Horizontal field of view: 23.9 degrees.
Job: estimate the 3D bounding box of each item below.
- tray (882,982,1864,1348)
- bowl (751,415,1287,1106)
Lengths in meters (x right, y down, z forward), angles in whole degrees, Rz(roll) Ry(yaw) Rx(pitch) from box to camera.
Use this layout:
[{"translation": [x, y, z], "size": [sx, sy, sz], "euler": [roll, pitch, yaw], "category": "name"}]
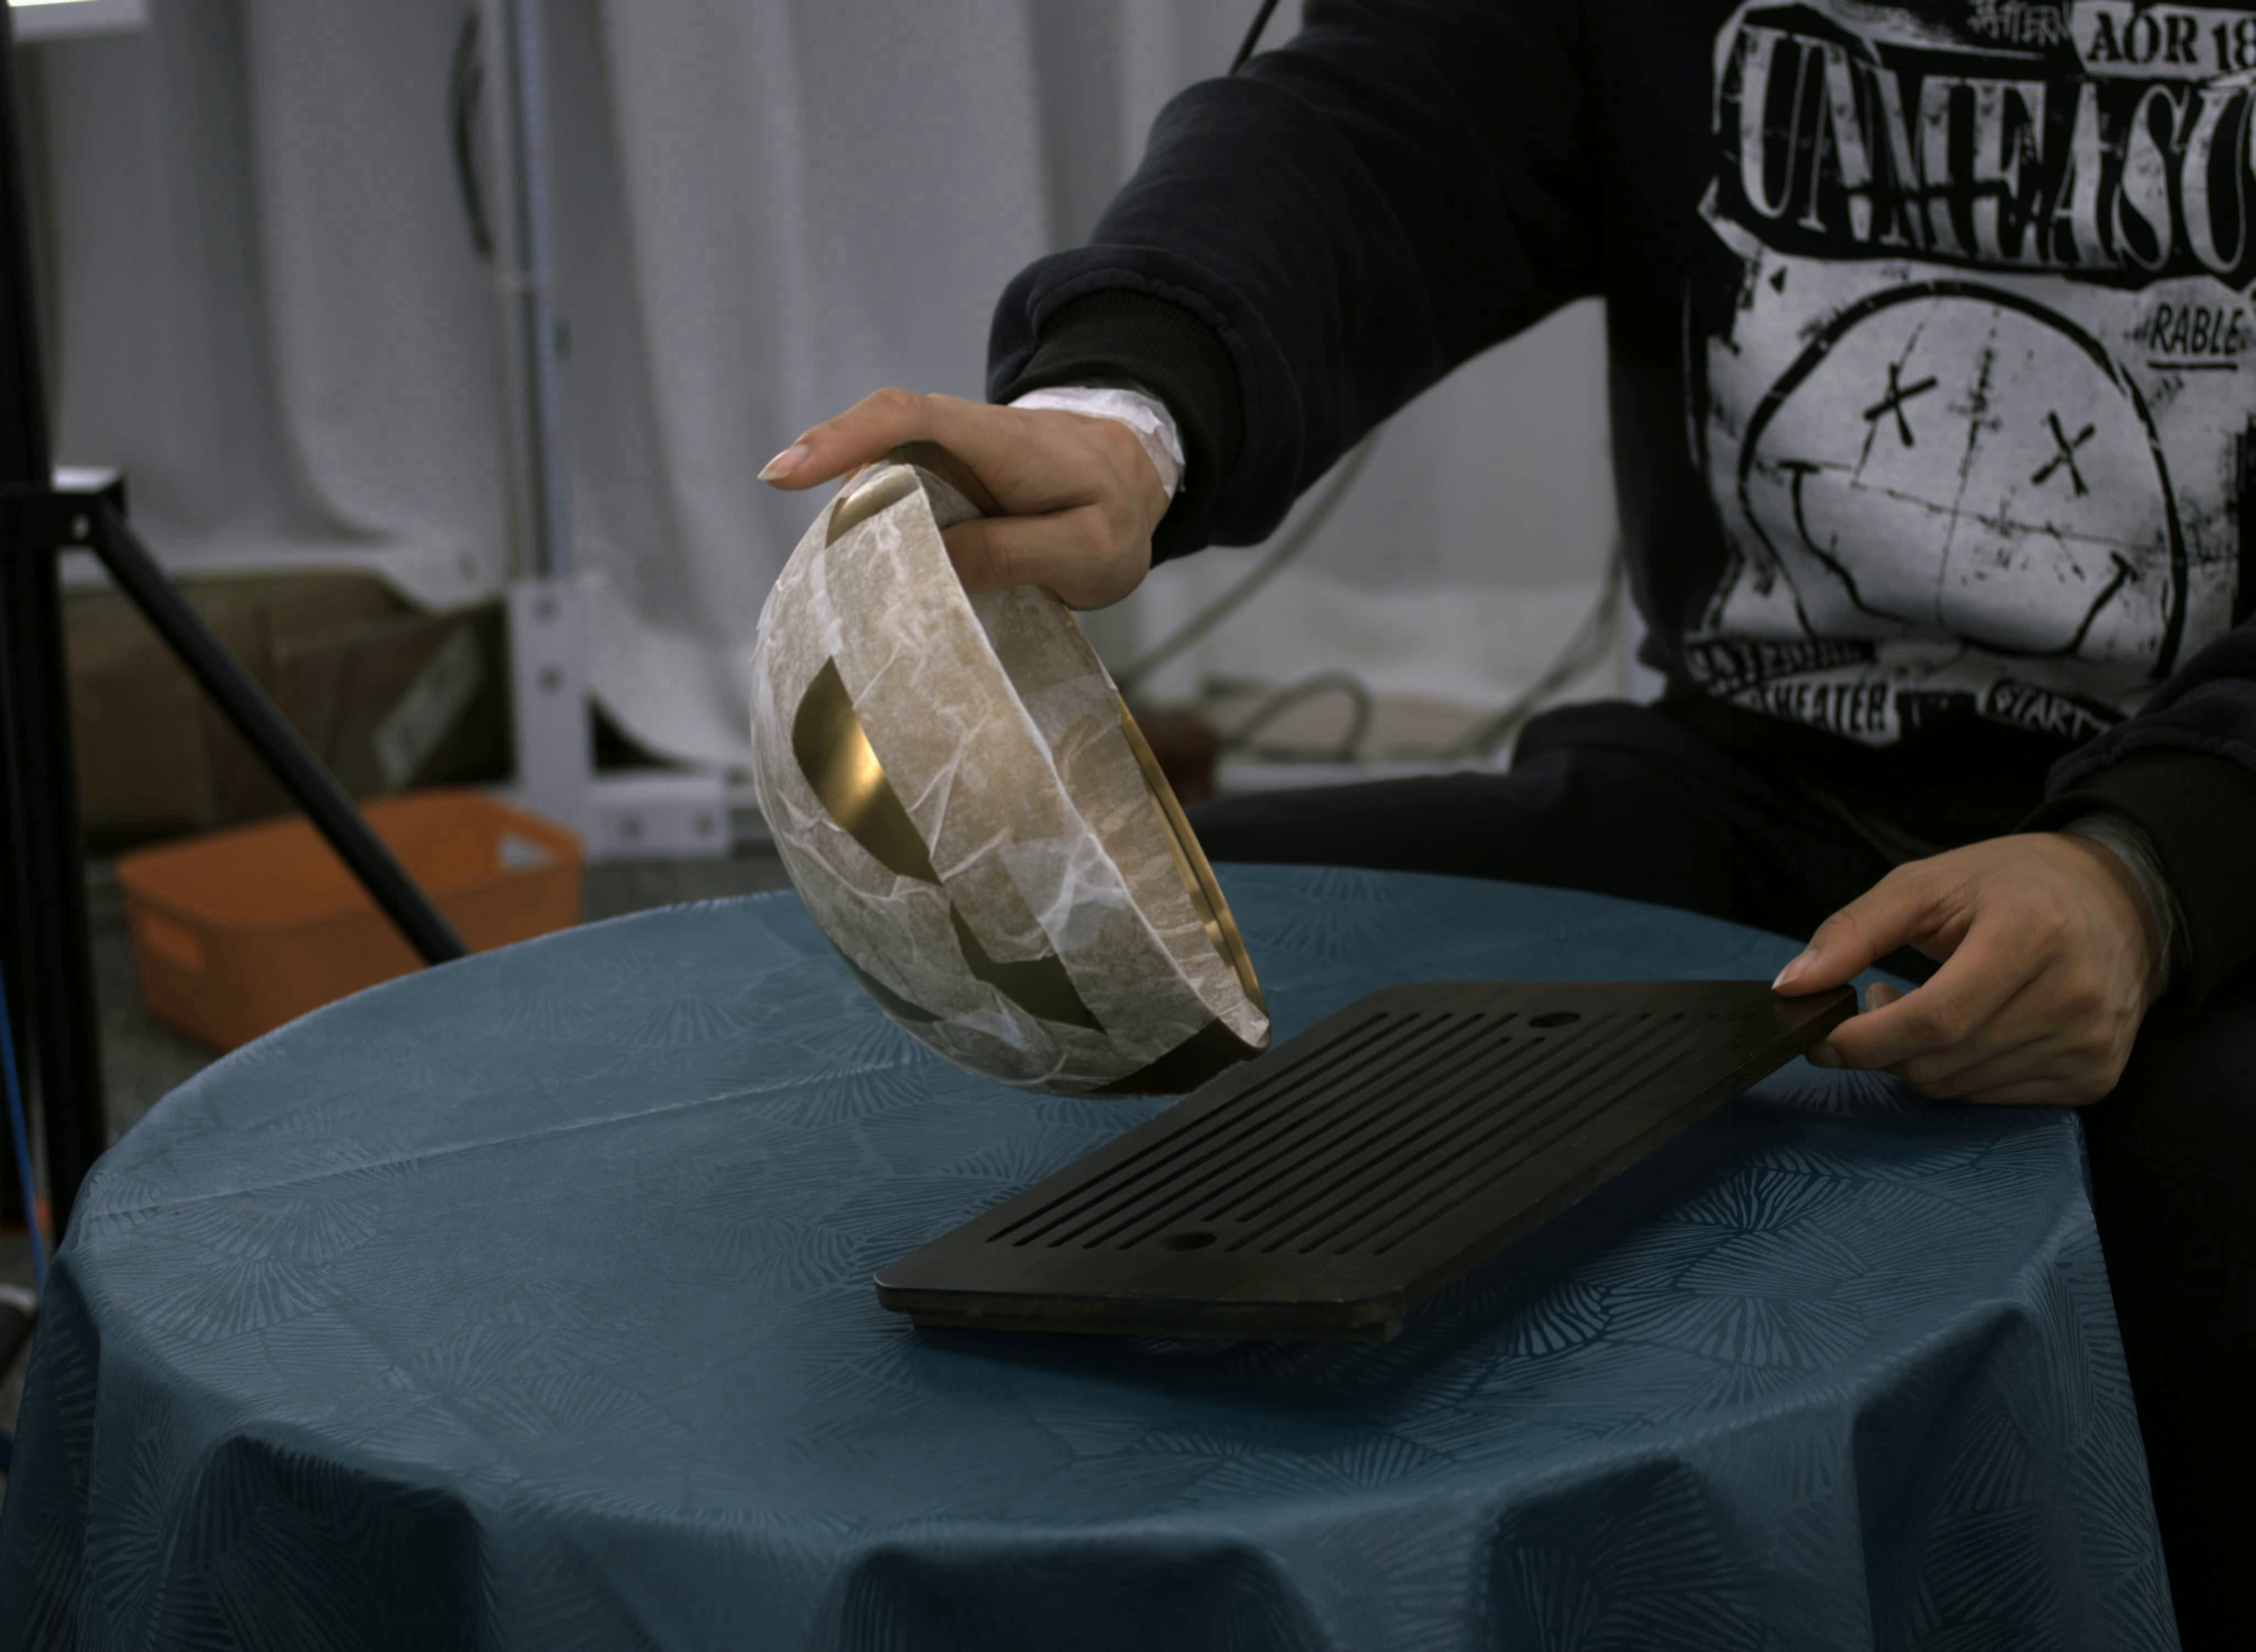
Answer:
[{"translation": [0.078, 0.094, 1.522], "size": [0.173, 0.018, 0.300], "euler": [-1, 14, 34], "category": "tray"}, {"translation": [-0.044, 0.000, 1.495], "size": [0.095, 0.213, 0.215], "euler": [-30, 13, 8], "category": "bowl"}]
